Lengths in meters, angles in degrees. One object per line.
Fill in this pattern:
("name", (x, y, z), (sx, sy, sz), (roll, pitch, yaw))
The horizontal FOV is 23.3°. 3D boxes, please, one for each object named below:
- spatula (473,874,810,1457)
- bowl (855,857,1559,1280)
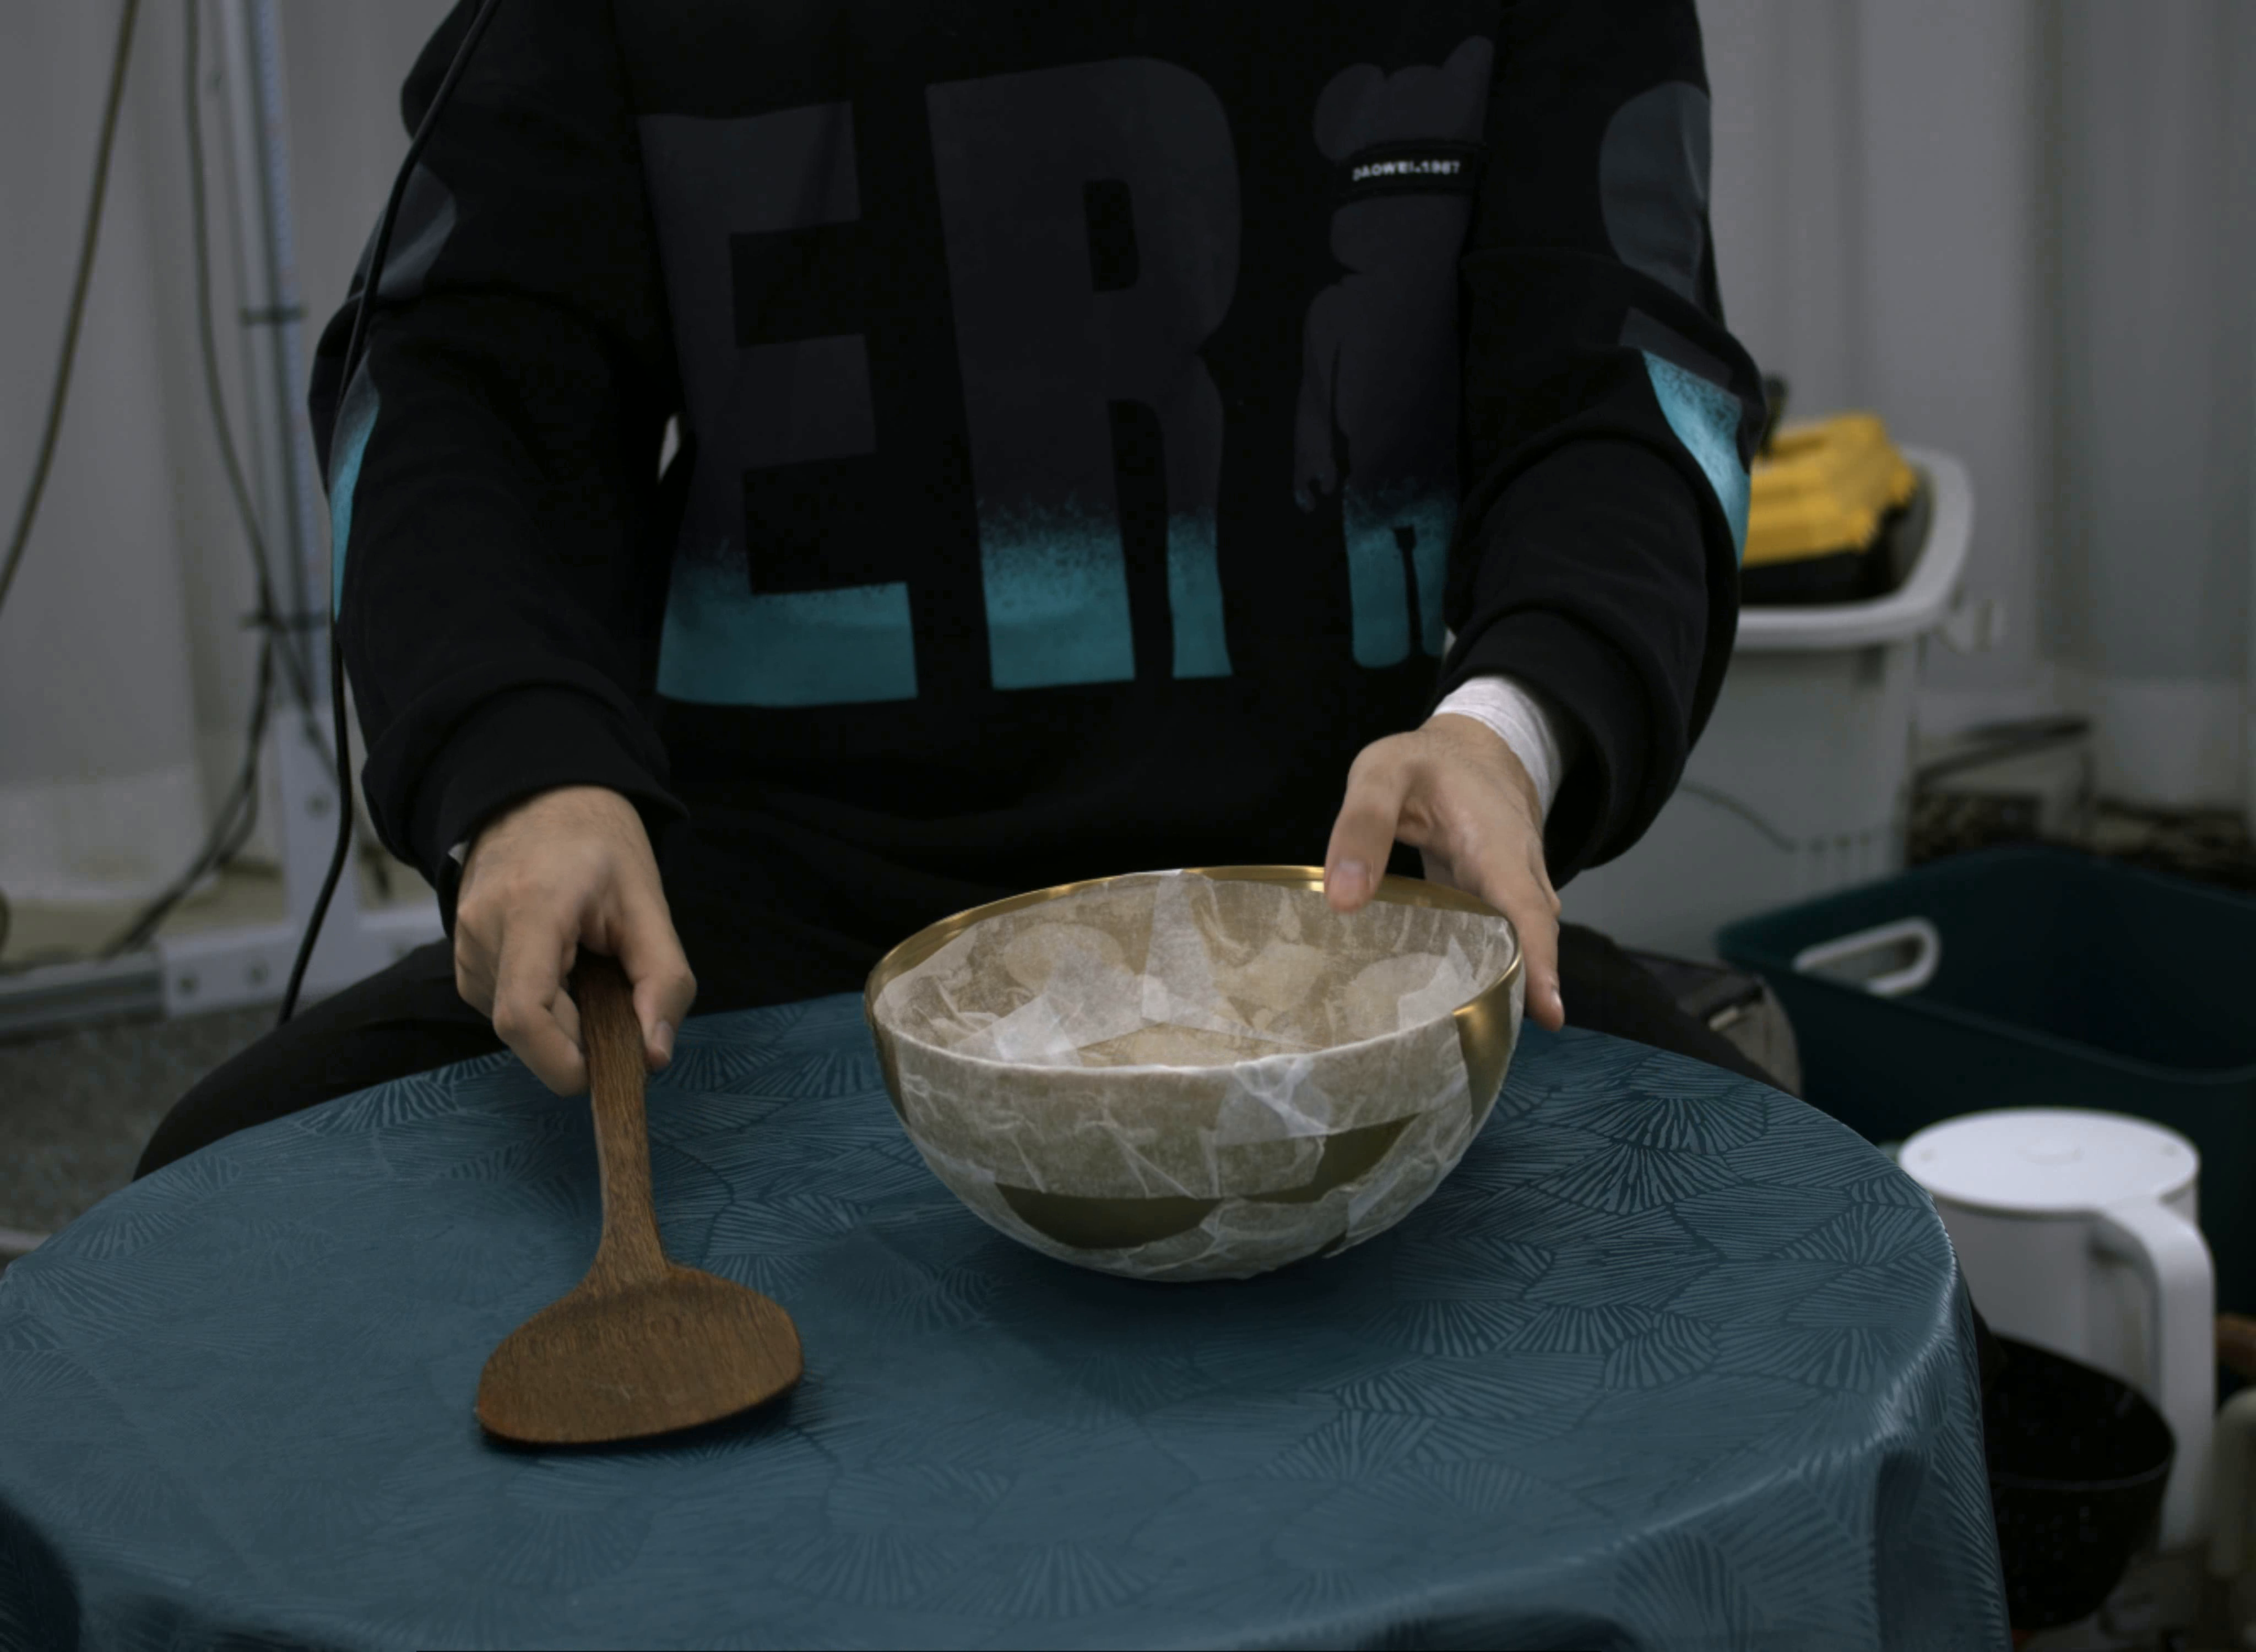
("spatula", (-0.156, 0.095, 1.692), (0.096, 0.015, 0.390), (-8, 25, -4))
("bowl", (0.026, 0.082, 1.652), (0.214, 0.094, 0.216), (-5, 14, 1))
